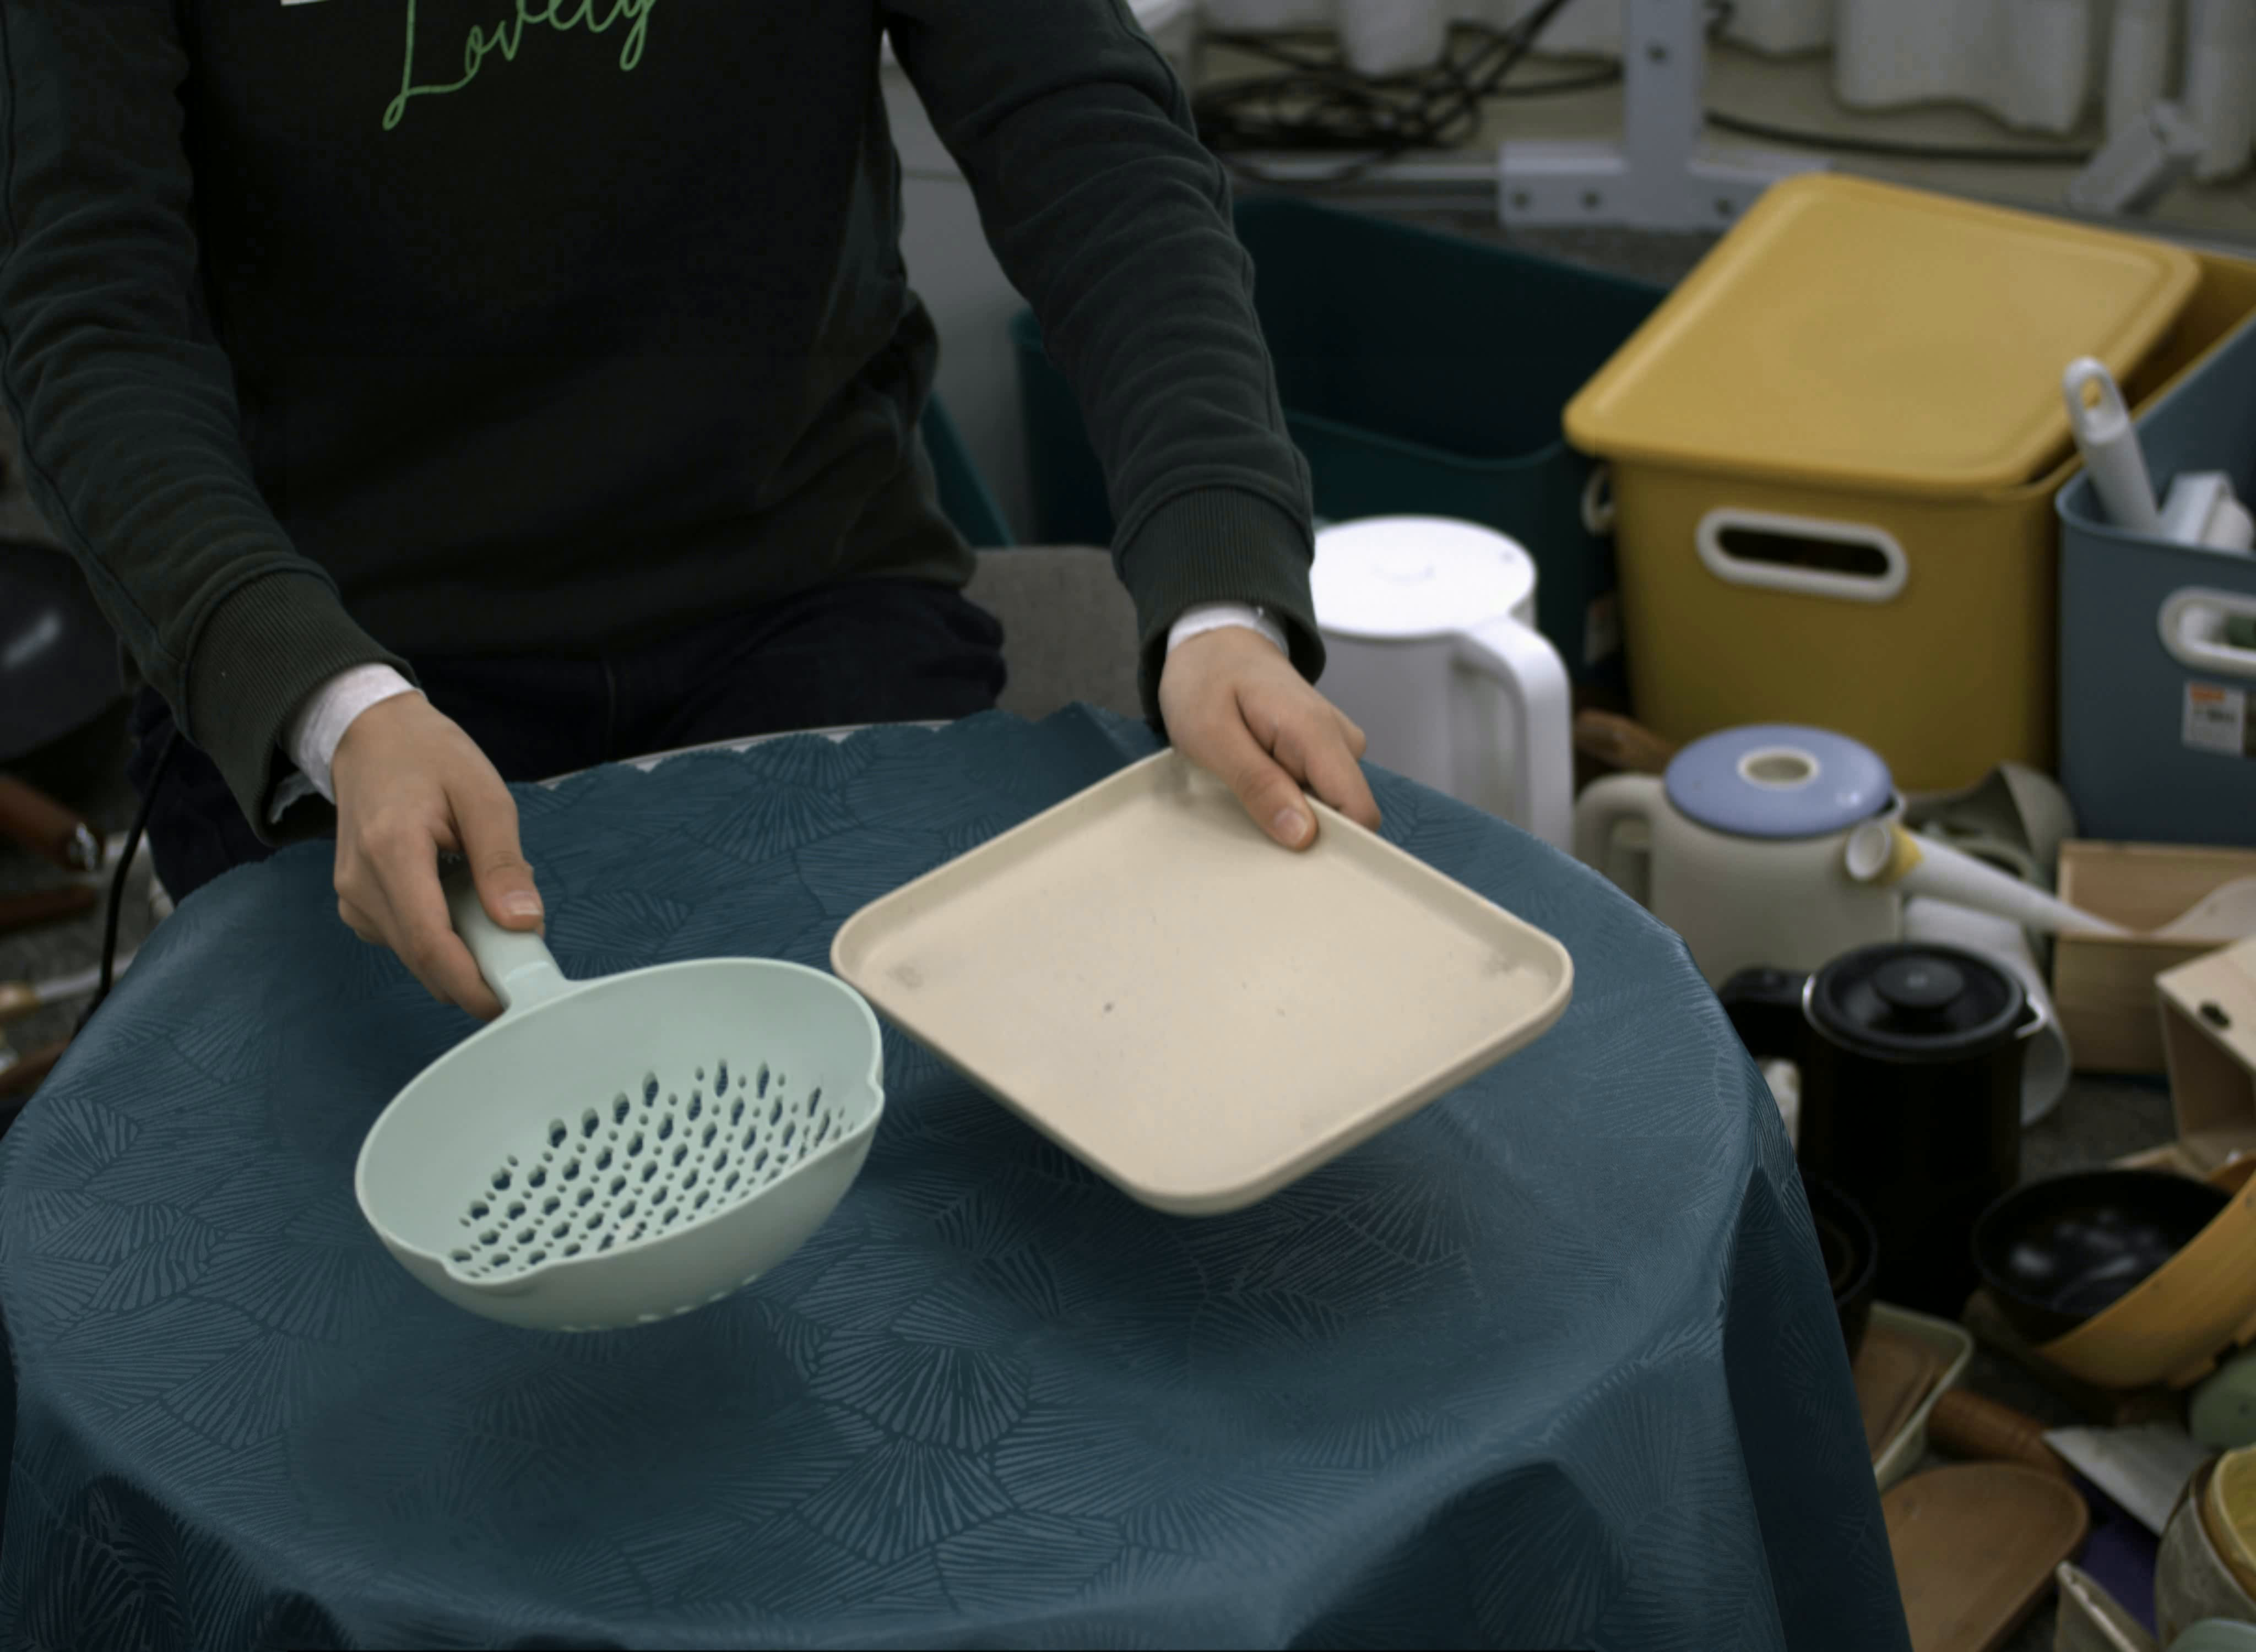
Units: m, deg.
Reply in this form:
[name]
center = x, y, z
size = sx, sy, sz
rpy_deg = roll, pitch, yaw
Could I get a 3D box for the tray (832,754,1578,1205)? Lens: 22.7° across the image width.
[tray]
center = 0.023, 0.048, 1.841
size = 0.173, 0.017, 0.240
rpy_deg = -28, 32, -24

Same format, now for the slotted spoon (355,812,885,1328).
[slotted spoon]
center = -0.187, 0.060, 1.816
size = 0.170, 0.074, 0.362
rpy_deg = -21, 35, -13
